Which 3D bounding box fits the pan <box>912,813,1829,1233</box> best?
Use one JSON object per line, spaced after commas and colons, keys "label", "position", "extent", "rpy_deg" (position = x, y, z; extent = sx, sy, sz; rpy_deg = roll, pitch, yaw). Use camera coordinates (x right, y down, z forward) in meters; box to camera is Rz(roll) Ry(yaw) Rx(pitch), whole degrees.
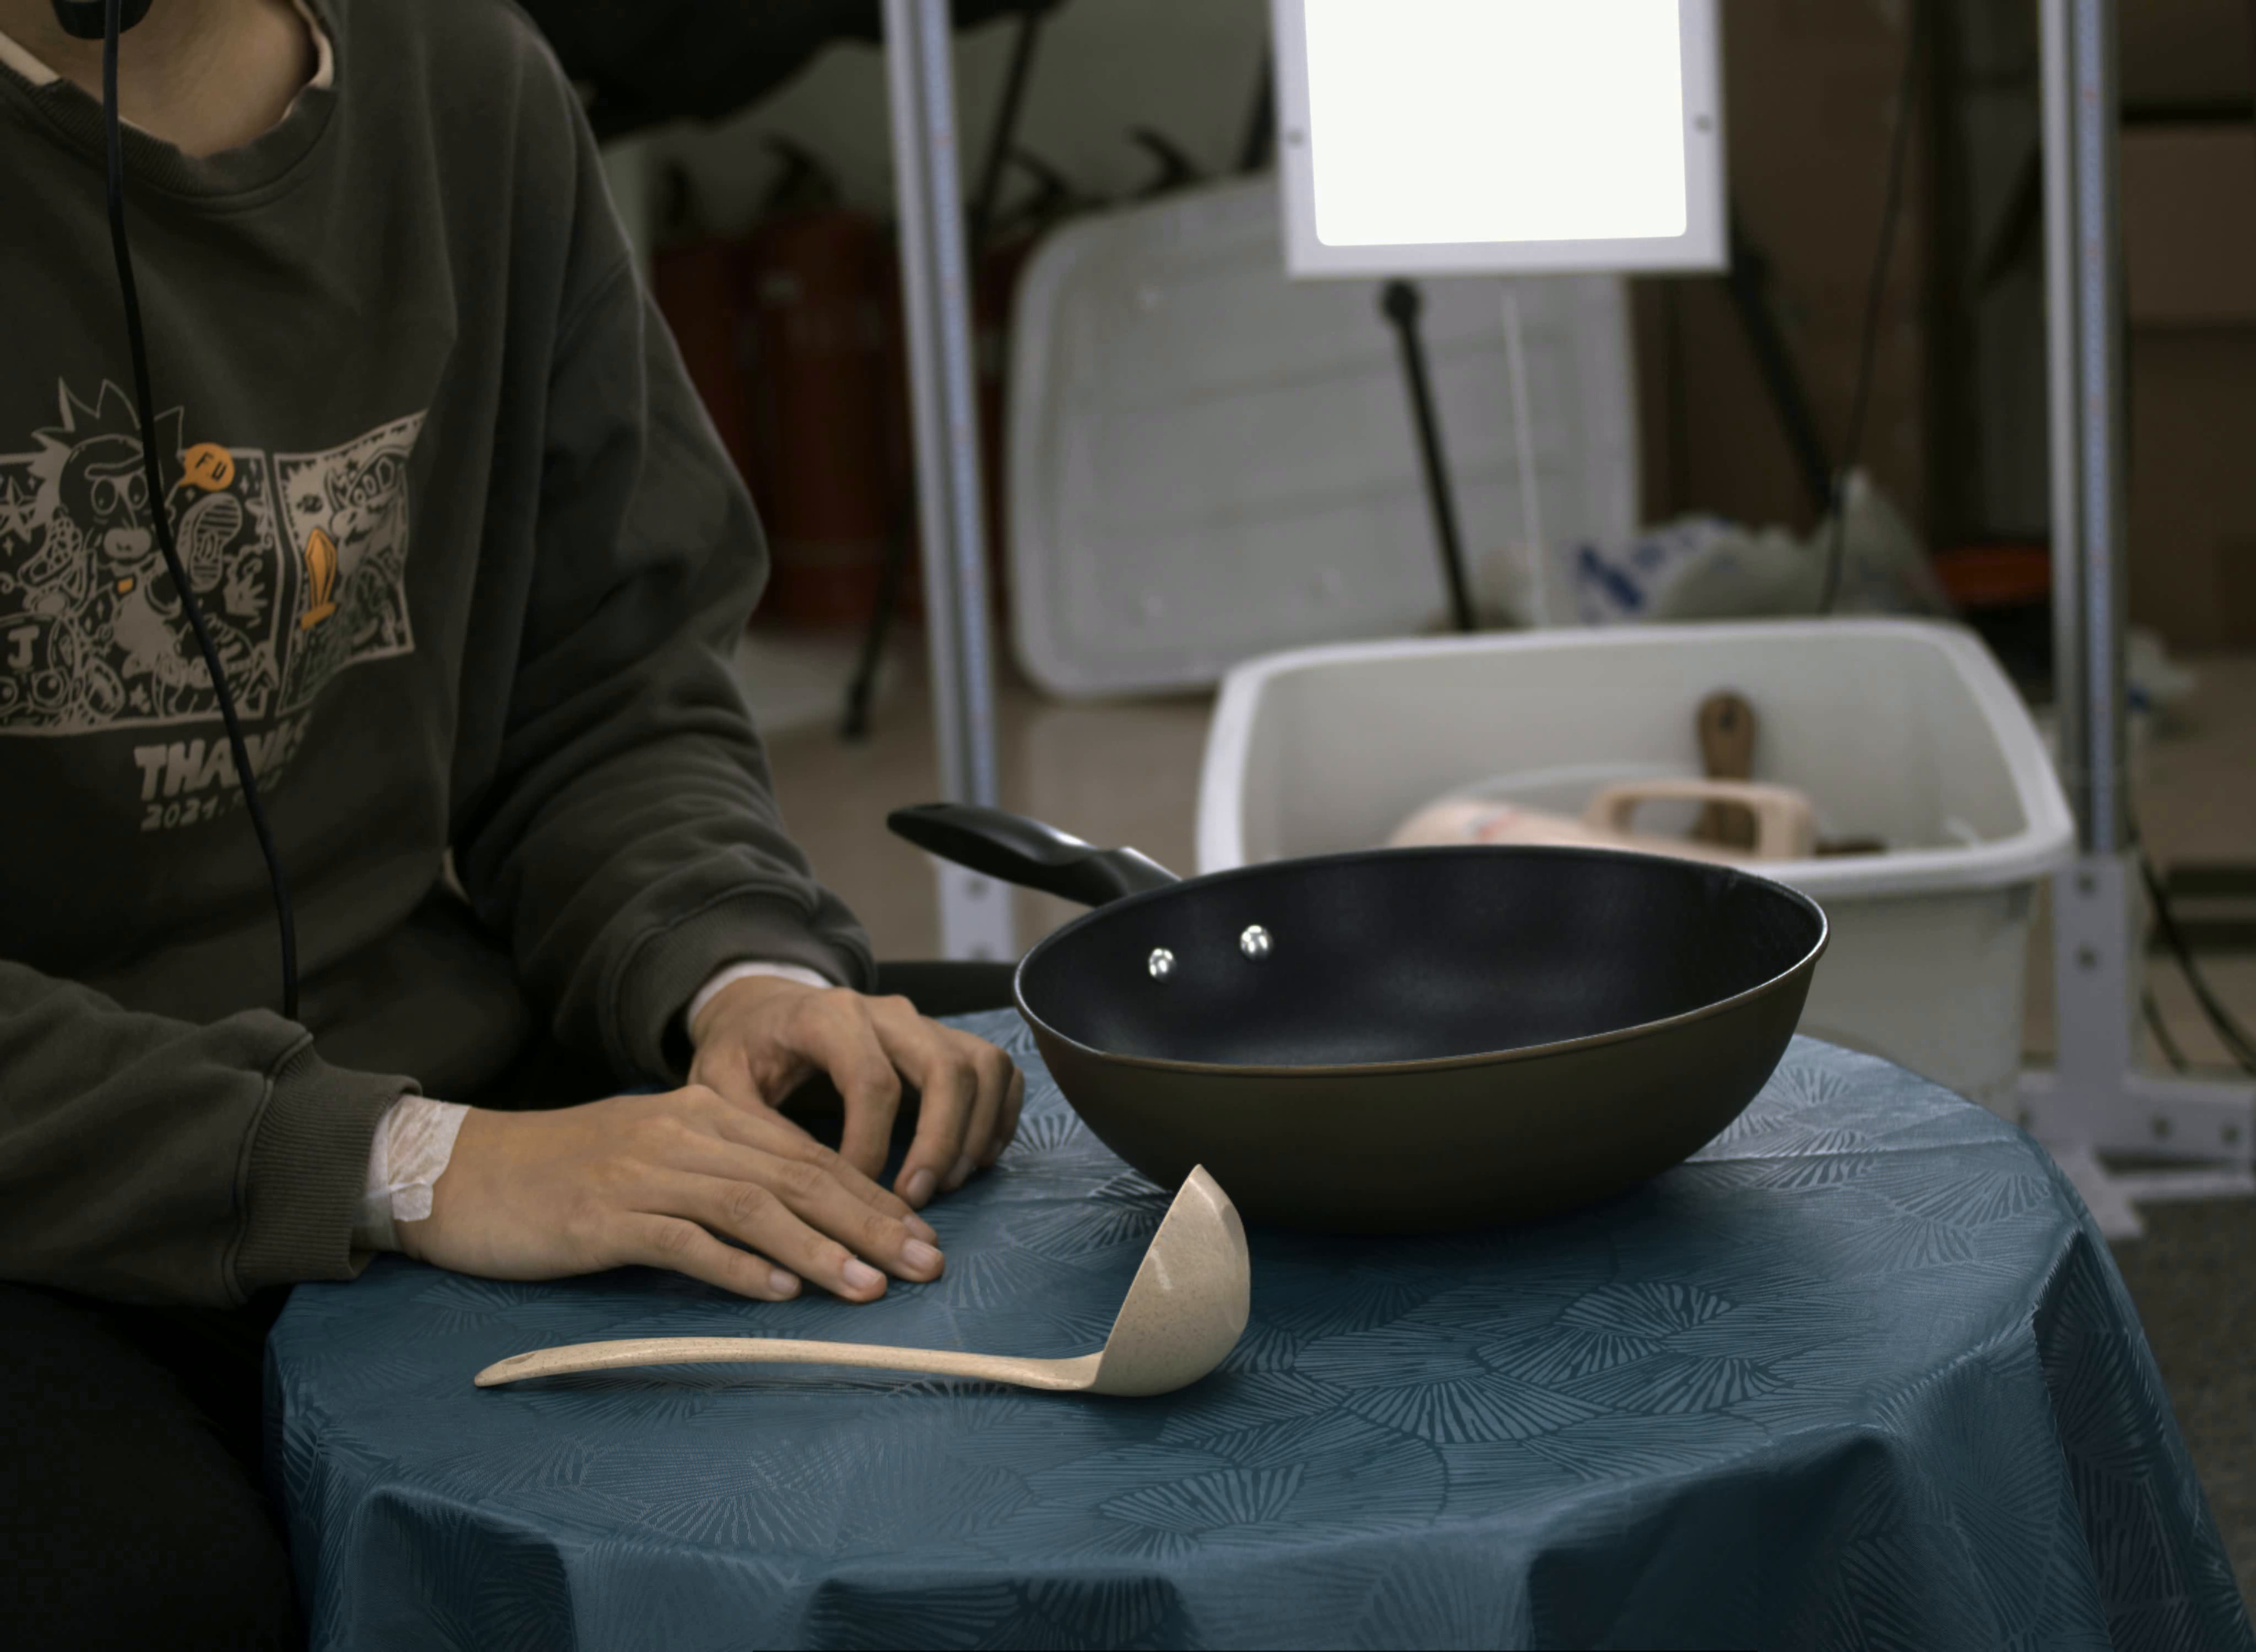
{"label": "pan", "position": [0.050, 0.065, 1.955], "extent": [0.281, 0.087, 0.472], "rpy_deg": [-14, 15, -31]}

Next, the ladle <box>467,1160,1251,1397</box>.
{"label": "ladle", "position": [-0.089, 0.141, 1.717], "extent": [0.256, 0.073, 0.071], "rpy_deg": [-1, 20, 14]}
